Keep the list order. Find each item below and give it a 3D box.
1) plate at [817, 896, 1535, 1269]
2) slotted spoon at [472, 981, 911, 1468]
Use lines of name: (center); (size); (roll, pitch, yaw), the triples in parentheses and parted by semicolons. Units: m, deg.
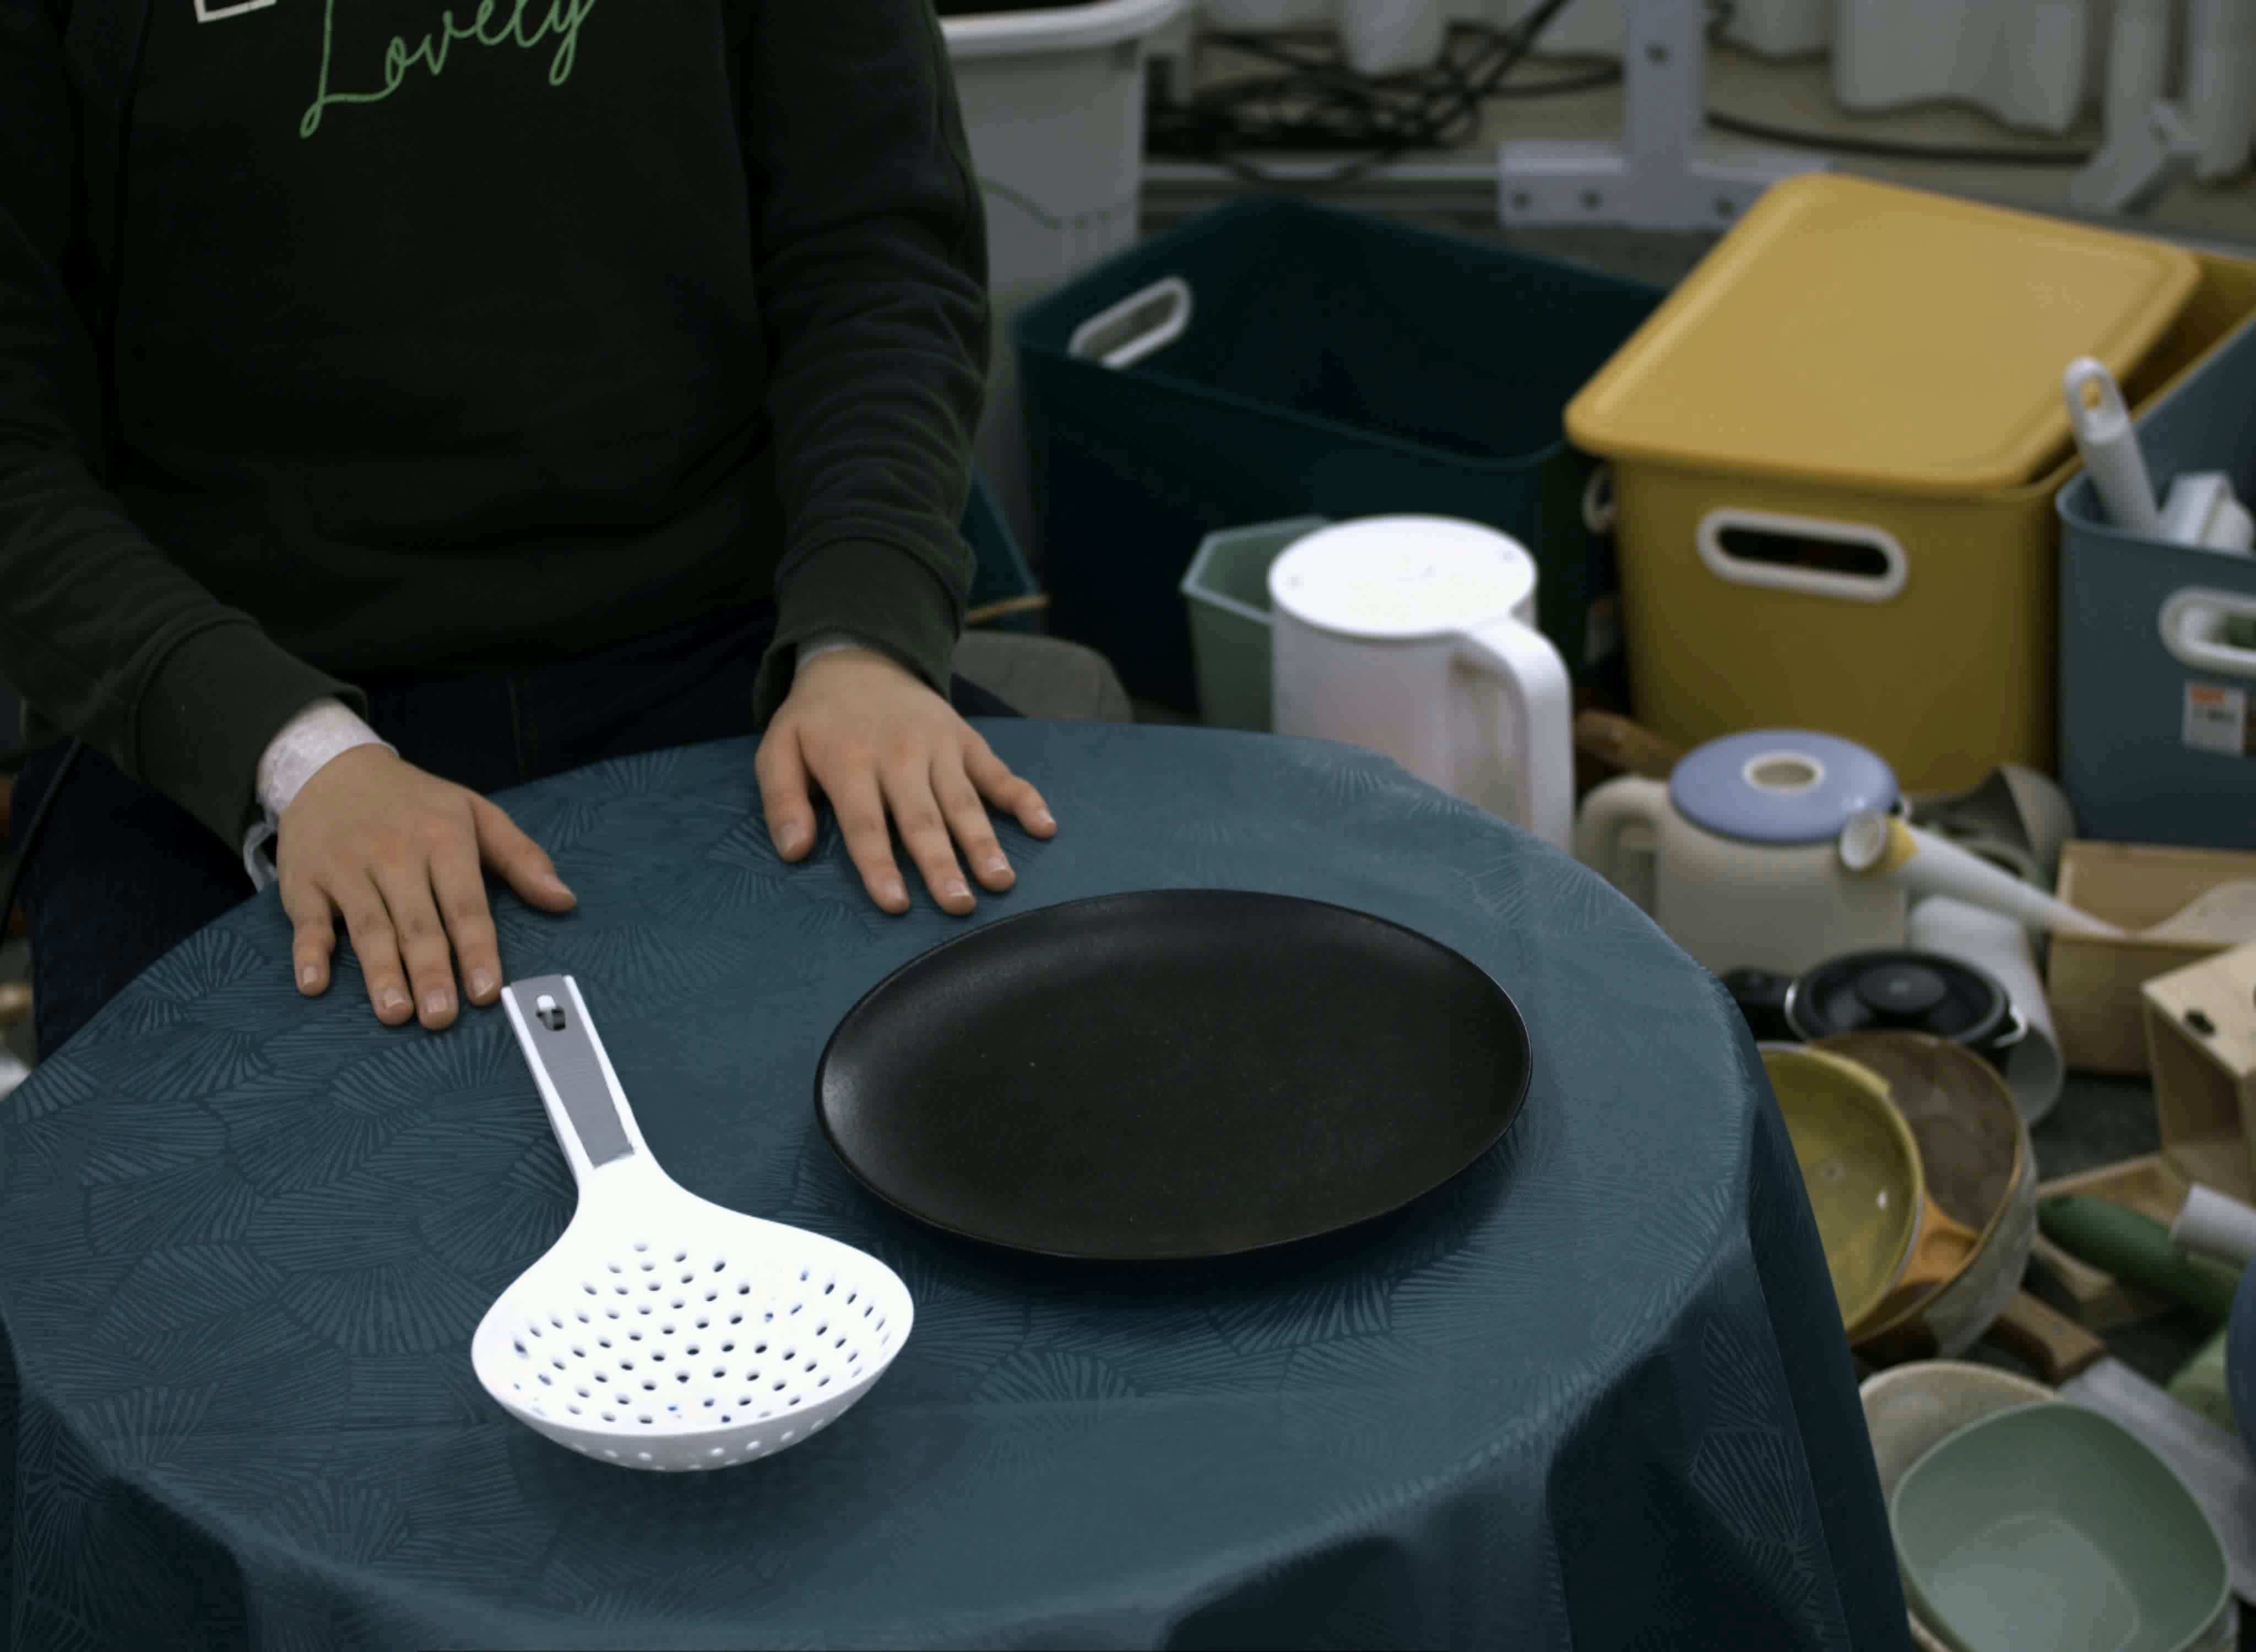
plate: (0.016, 0.090, 1.896); (0.243, 0.023, 0.248); (-2, 27, 2)
slotted spoon: (-0.162, 0.123, 1.825); (0.136, 0.045, 0.353); (-8, 27, -13)
